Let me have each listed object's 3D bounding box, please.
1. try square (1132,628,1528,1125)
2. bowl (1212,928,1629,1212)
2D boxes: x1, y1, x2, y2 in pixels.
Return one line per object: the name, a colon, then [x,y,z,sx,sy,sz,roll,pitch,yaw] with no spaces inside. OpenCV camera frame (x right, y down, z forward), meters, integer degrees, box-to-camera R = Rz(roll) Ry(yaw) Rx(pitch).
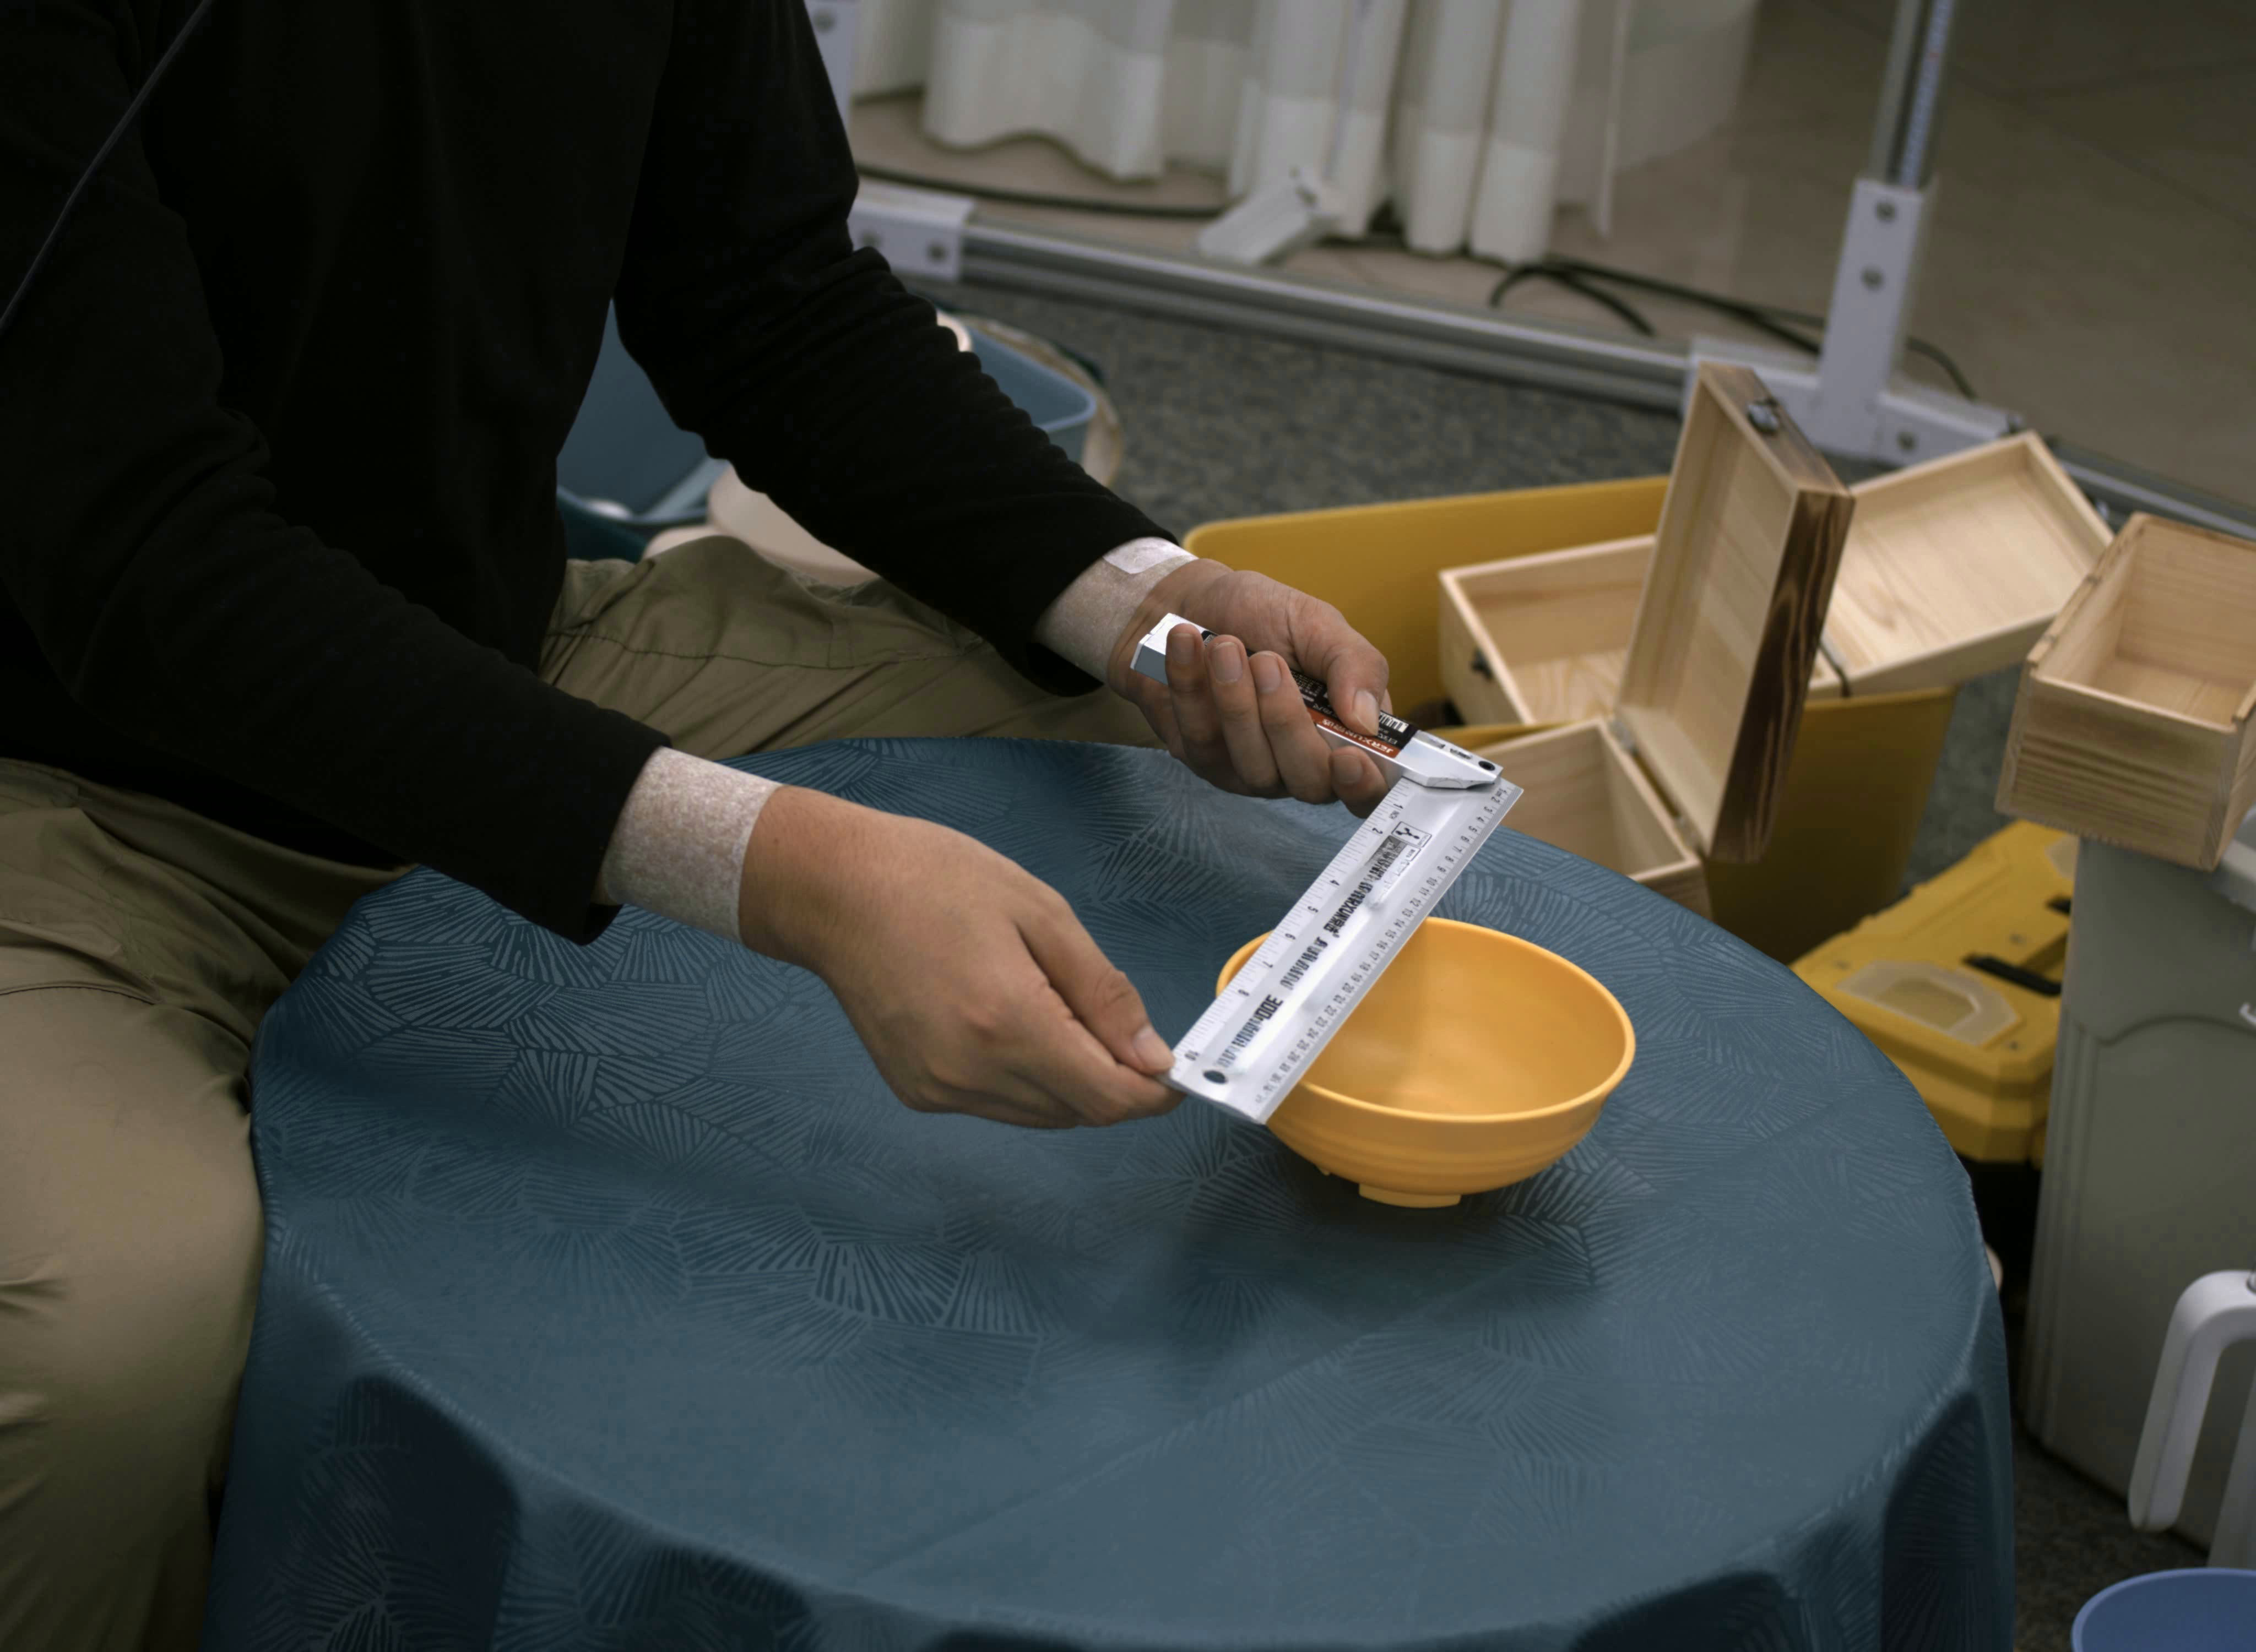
try square: [0.030,0.012,1.869,0.152,0.016,0.313,23,27,12]
bowl: [0.096,0.091,1.825,0.145,0.060,0.146,6,24,-3]
